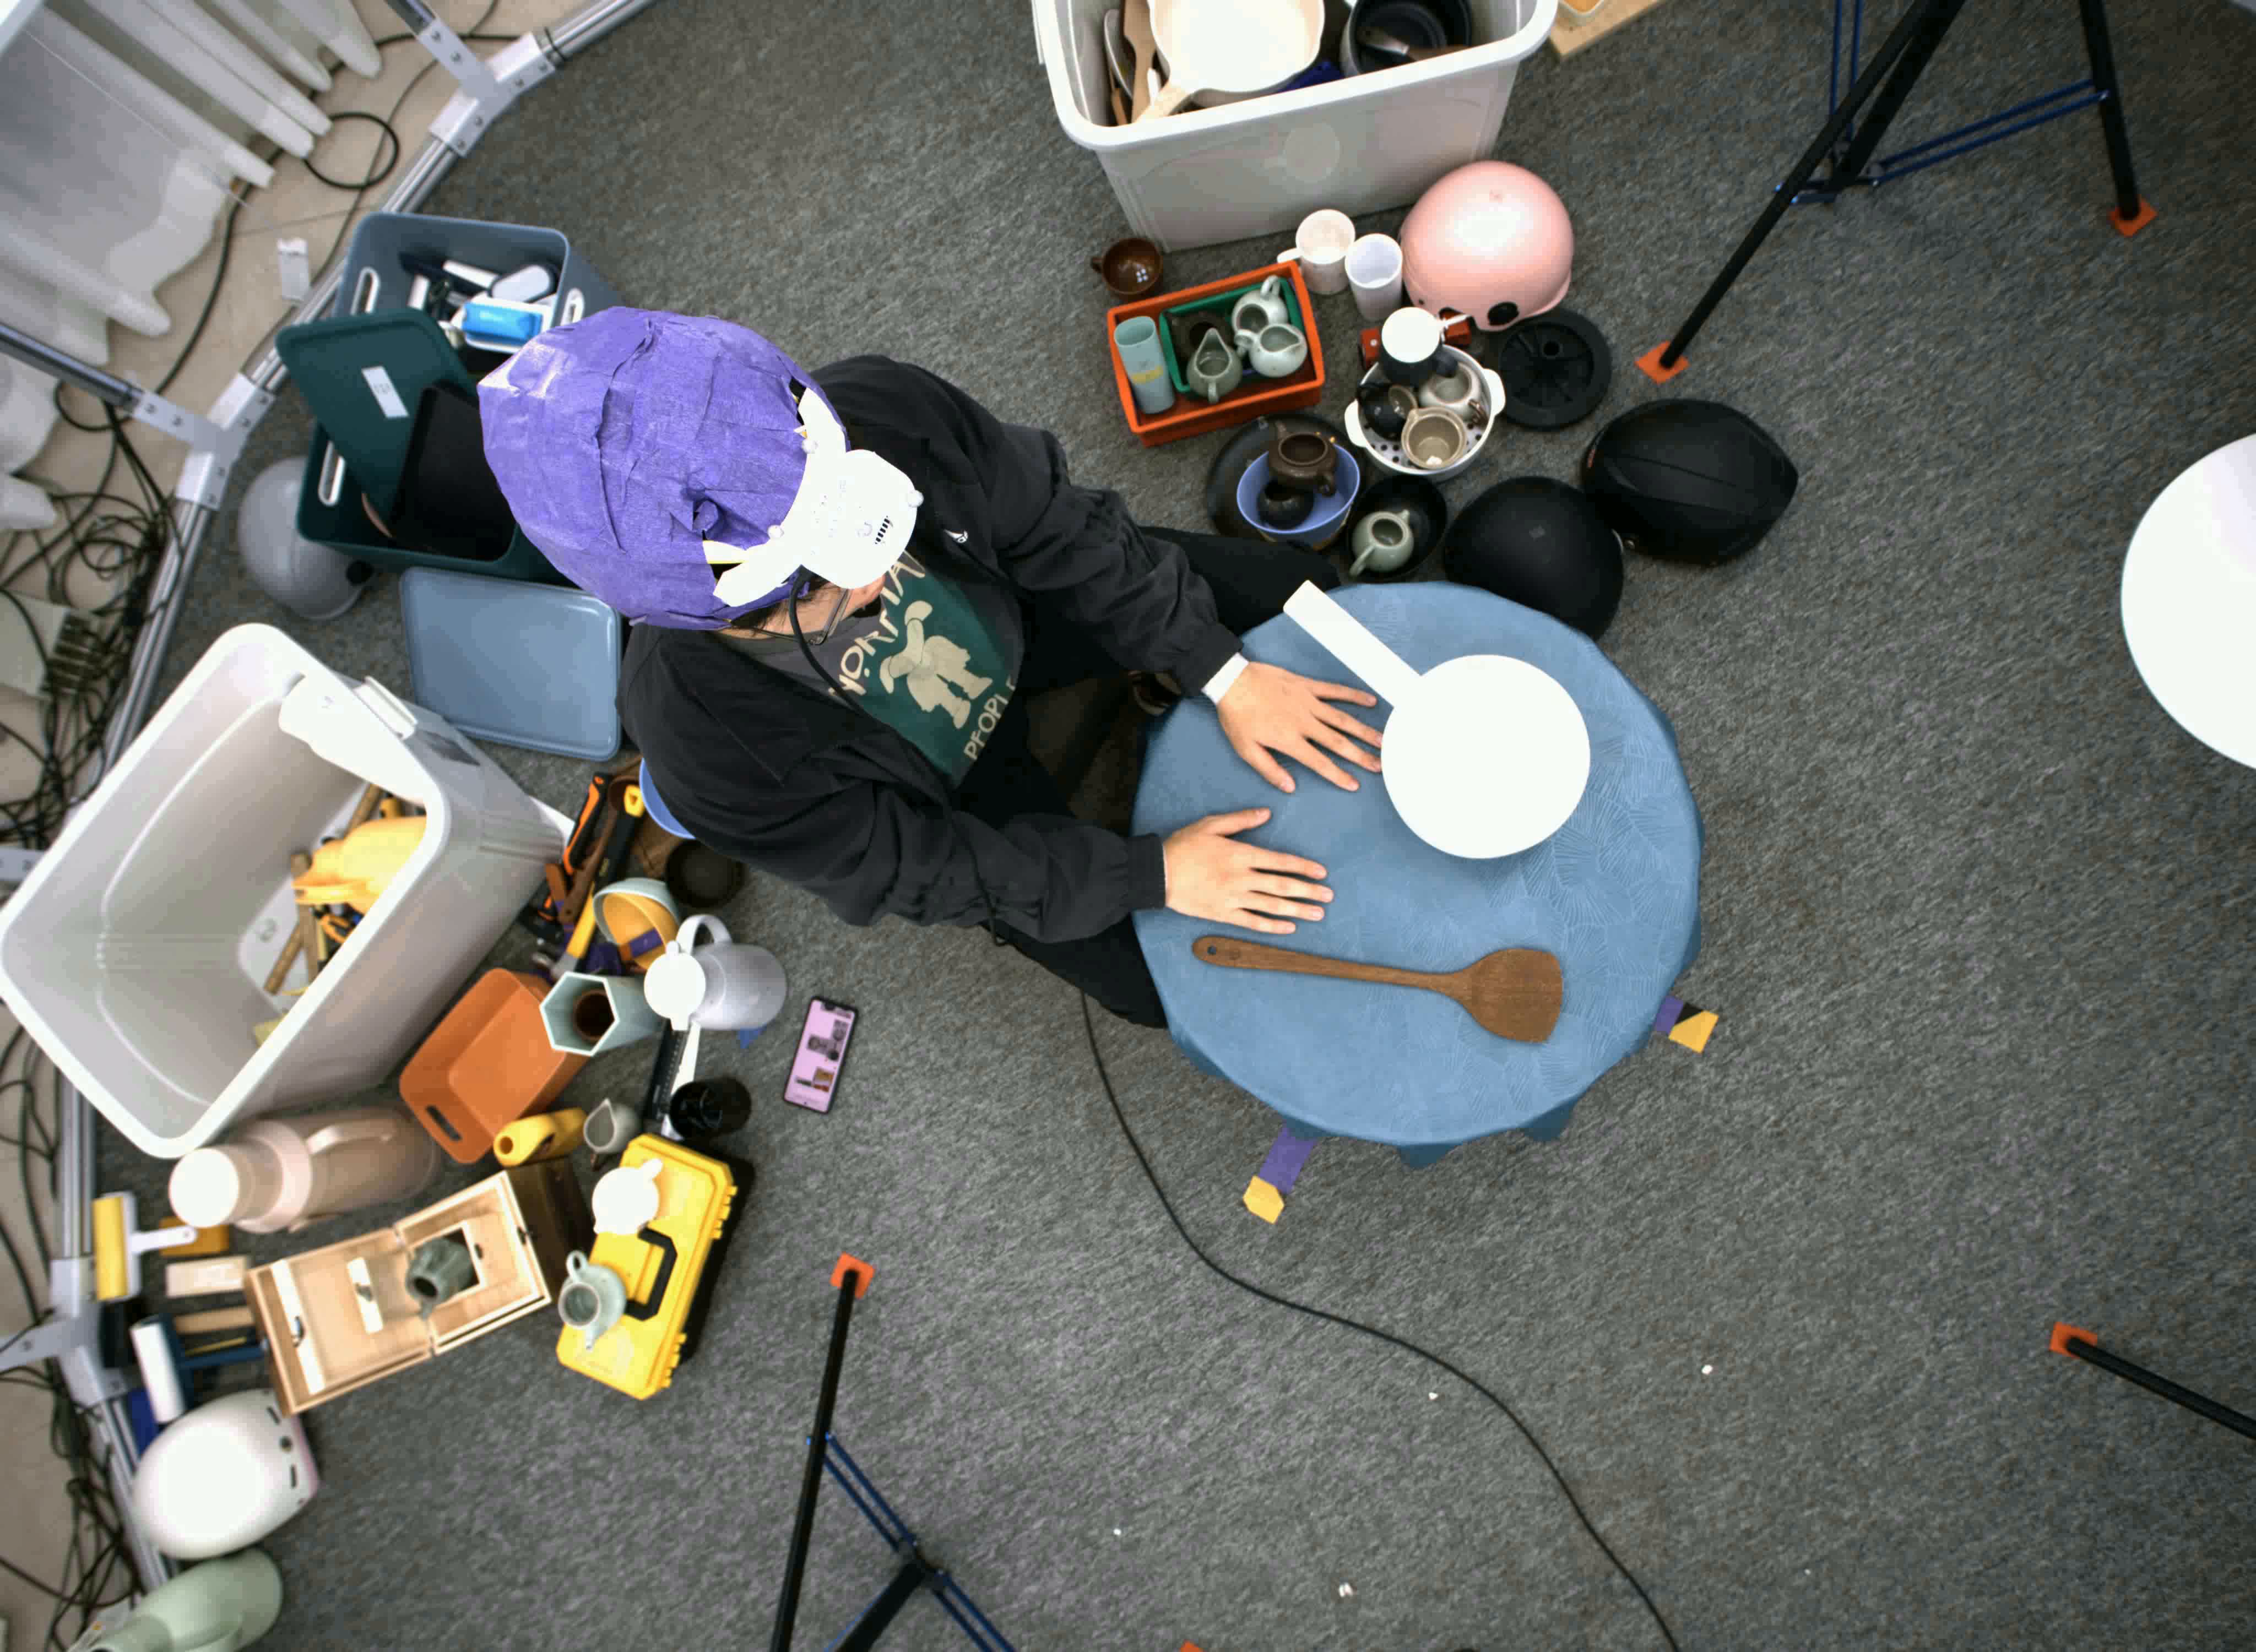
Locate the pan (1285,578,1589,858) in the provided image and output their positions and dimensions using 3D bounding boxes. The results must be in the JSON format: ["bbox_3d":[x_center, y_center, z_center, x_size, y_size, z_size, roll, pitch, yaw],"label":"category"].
[{"bbox_3d":[0.305,-0.119,1.413,0.353,0.102,0.202,43,95,12],"label":"pan"}]

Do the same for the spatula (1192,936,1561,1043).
[{"bbox_3d":[0.256,0.153,1.450,0.387,0.016,0.096,7,88,11],"label":"spatula"}]
